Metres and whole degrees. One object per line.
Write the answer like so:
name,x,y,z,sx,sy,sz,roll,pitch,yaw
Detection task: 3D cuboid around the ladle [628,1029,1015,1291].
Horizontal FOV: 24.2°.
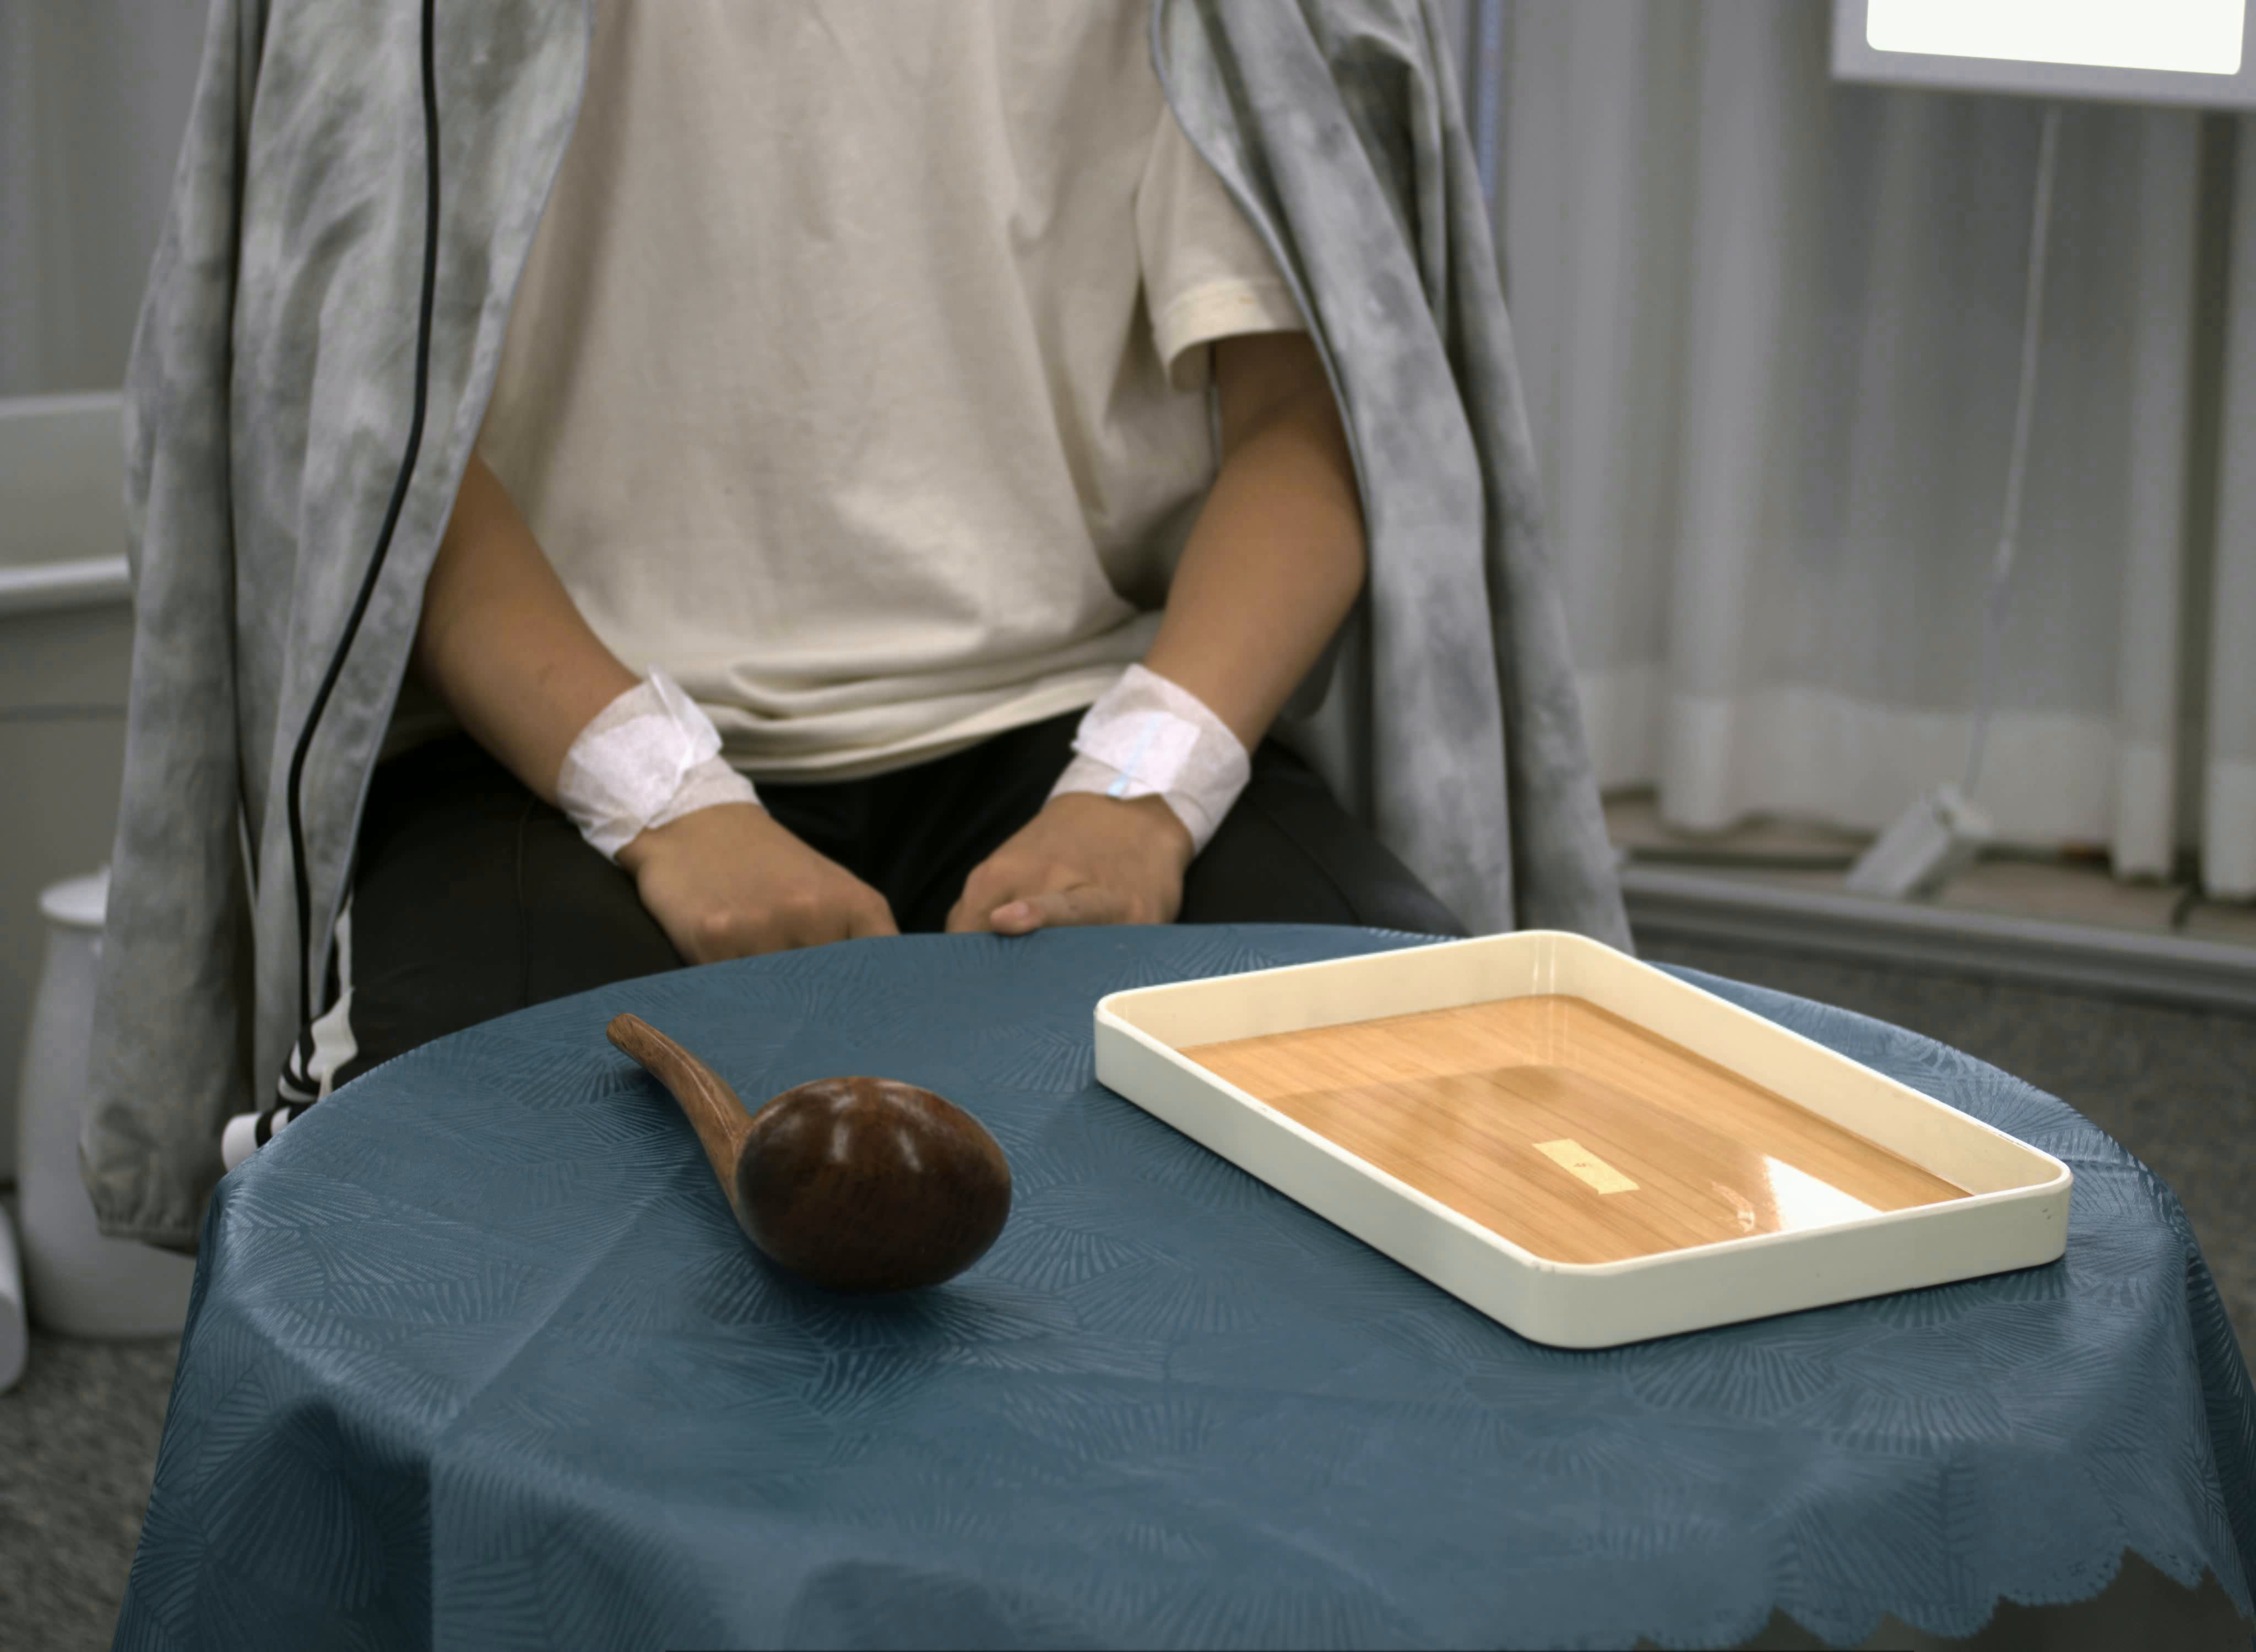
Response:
ladle,-0.103,0.079,1.612,0.082,0.076,0.271,39,1,-21

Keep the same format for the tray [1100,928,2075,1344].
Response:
tray,0.137,0.092,1.652,0.192,0.027,0.296,-8,17,-27
